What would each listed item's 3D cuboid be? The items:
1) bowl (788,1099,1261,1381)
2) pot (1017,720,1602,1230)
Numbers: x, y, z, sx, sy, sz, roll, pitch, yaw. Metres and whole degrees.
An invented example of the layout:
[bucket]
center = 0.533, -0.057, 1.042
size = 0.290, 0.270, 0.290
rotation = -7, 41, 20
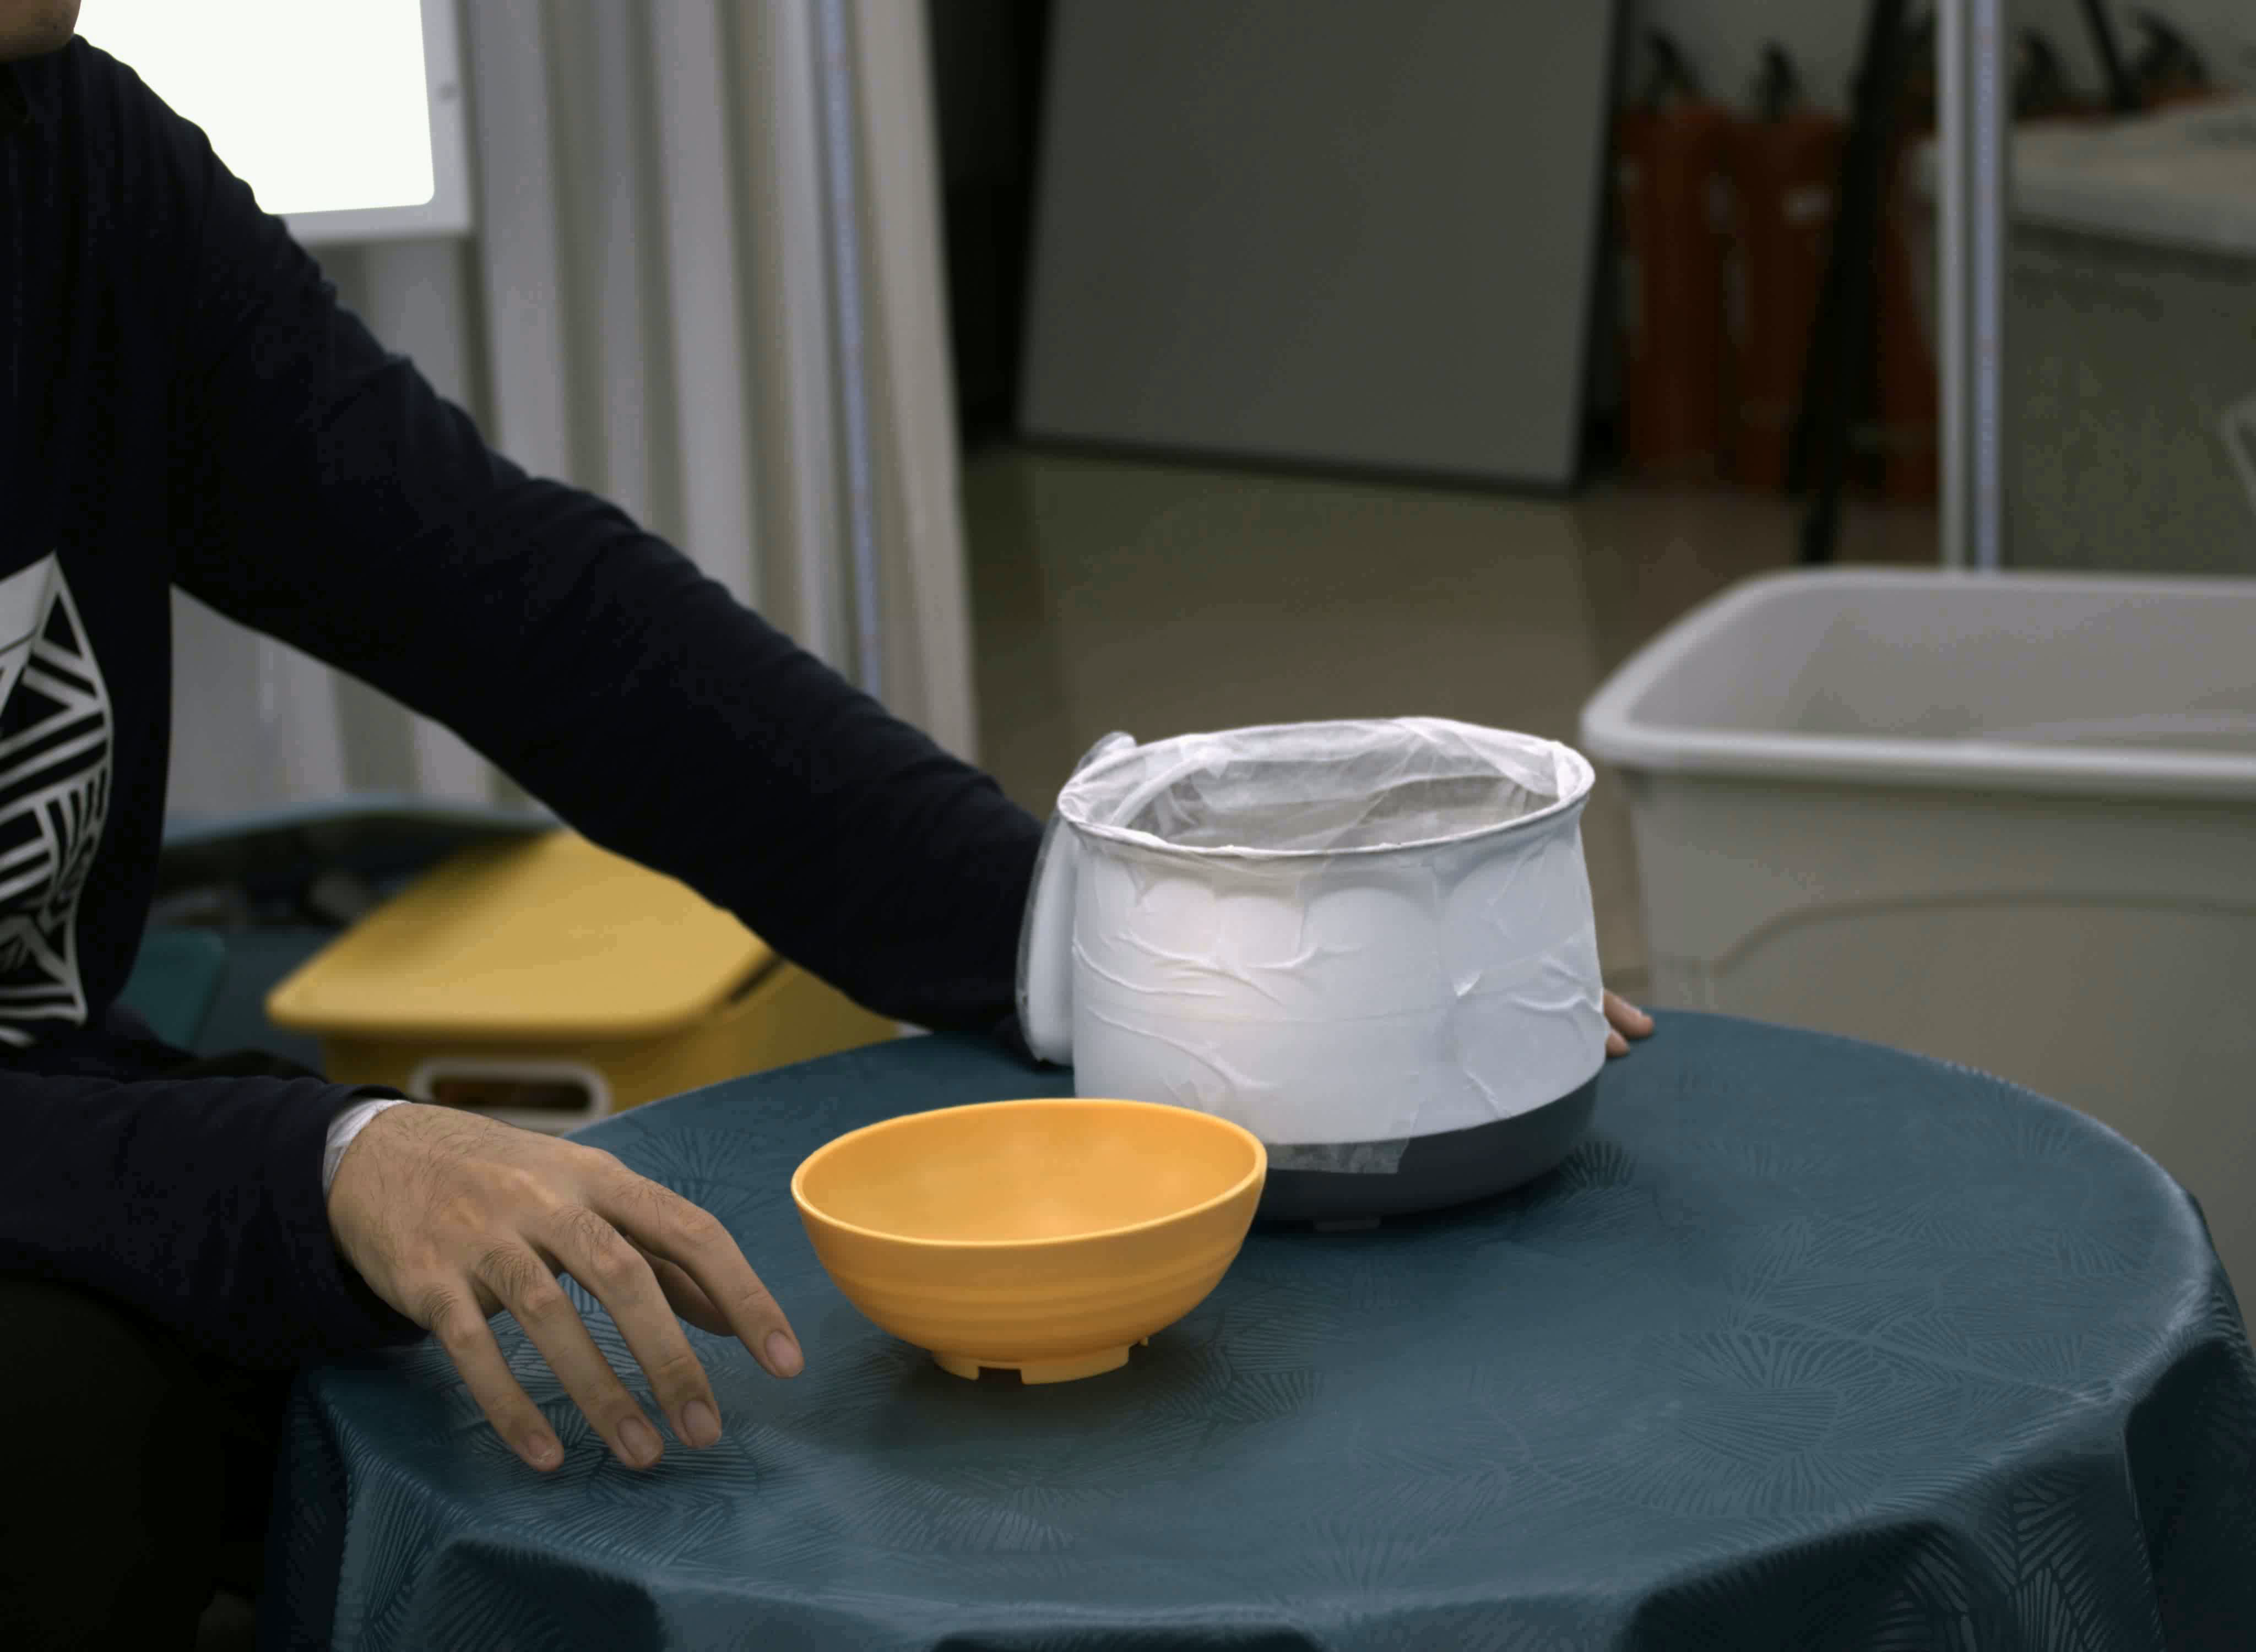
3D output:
[bowl]
center = -0.030, 0.129, 1.621
size = 0.143, 0.061, 0.145
rotation = -2, 13, 0
[pot]
center = 0.049, 0.043, 1.789
size = 0.175, 0.138, 0.236
rotation = -12, 16, -43
